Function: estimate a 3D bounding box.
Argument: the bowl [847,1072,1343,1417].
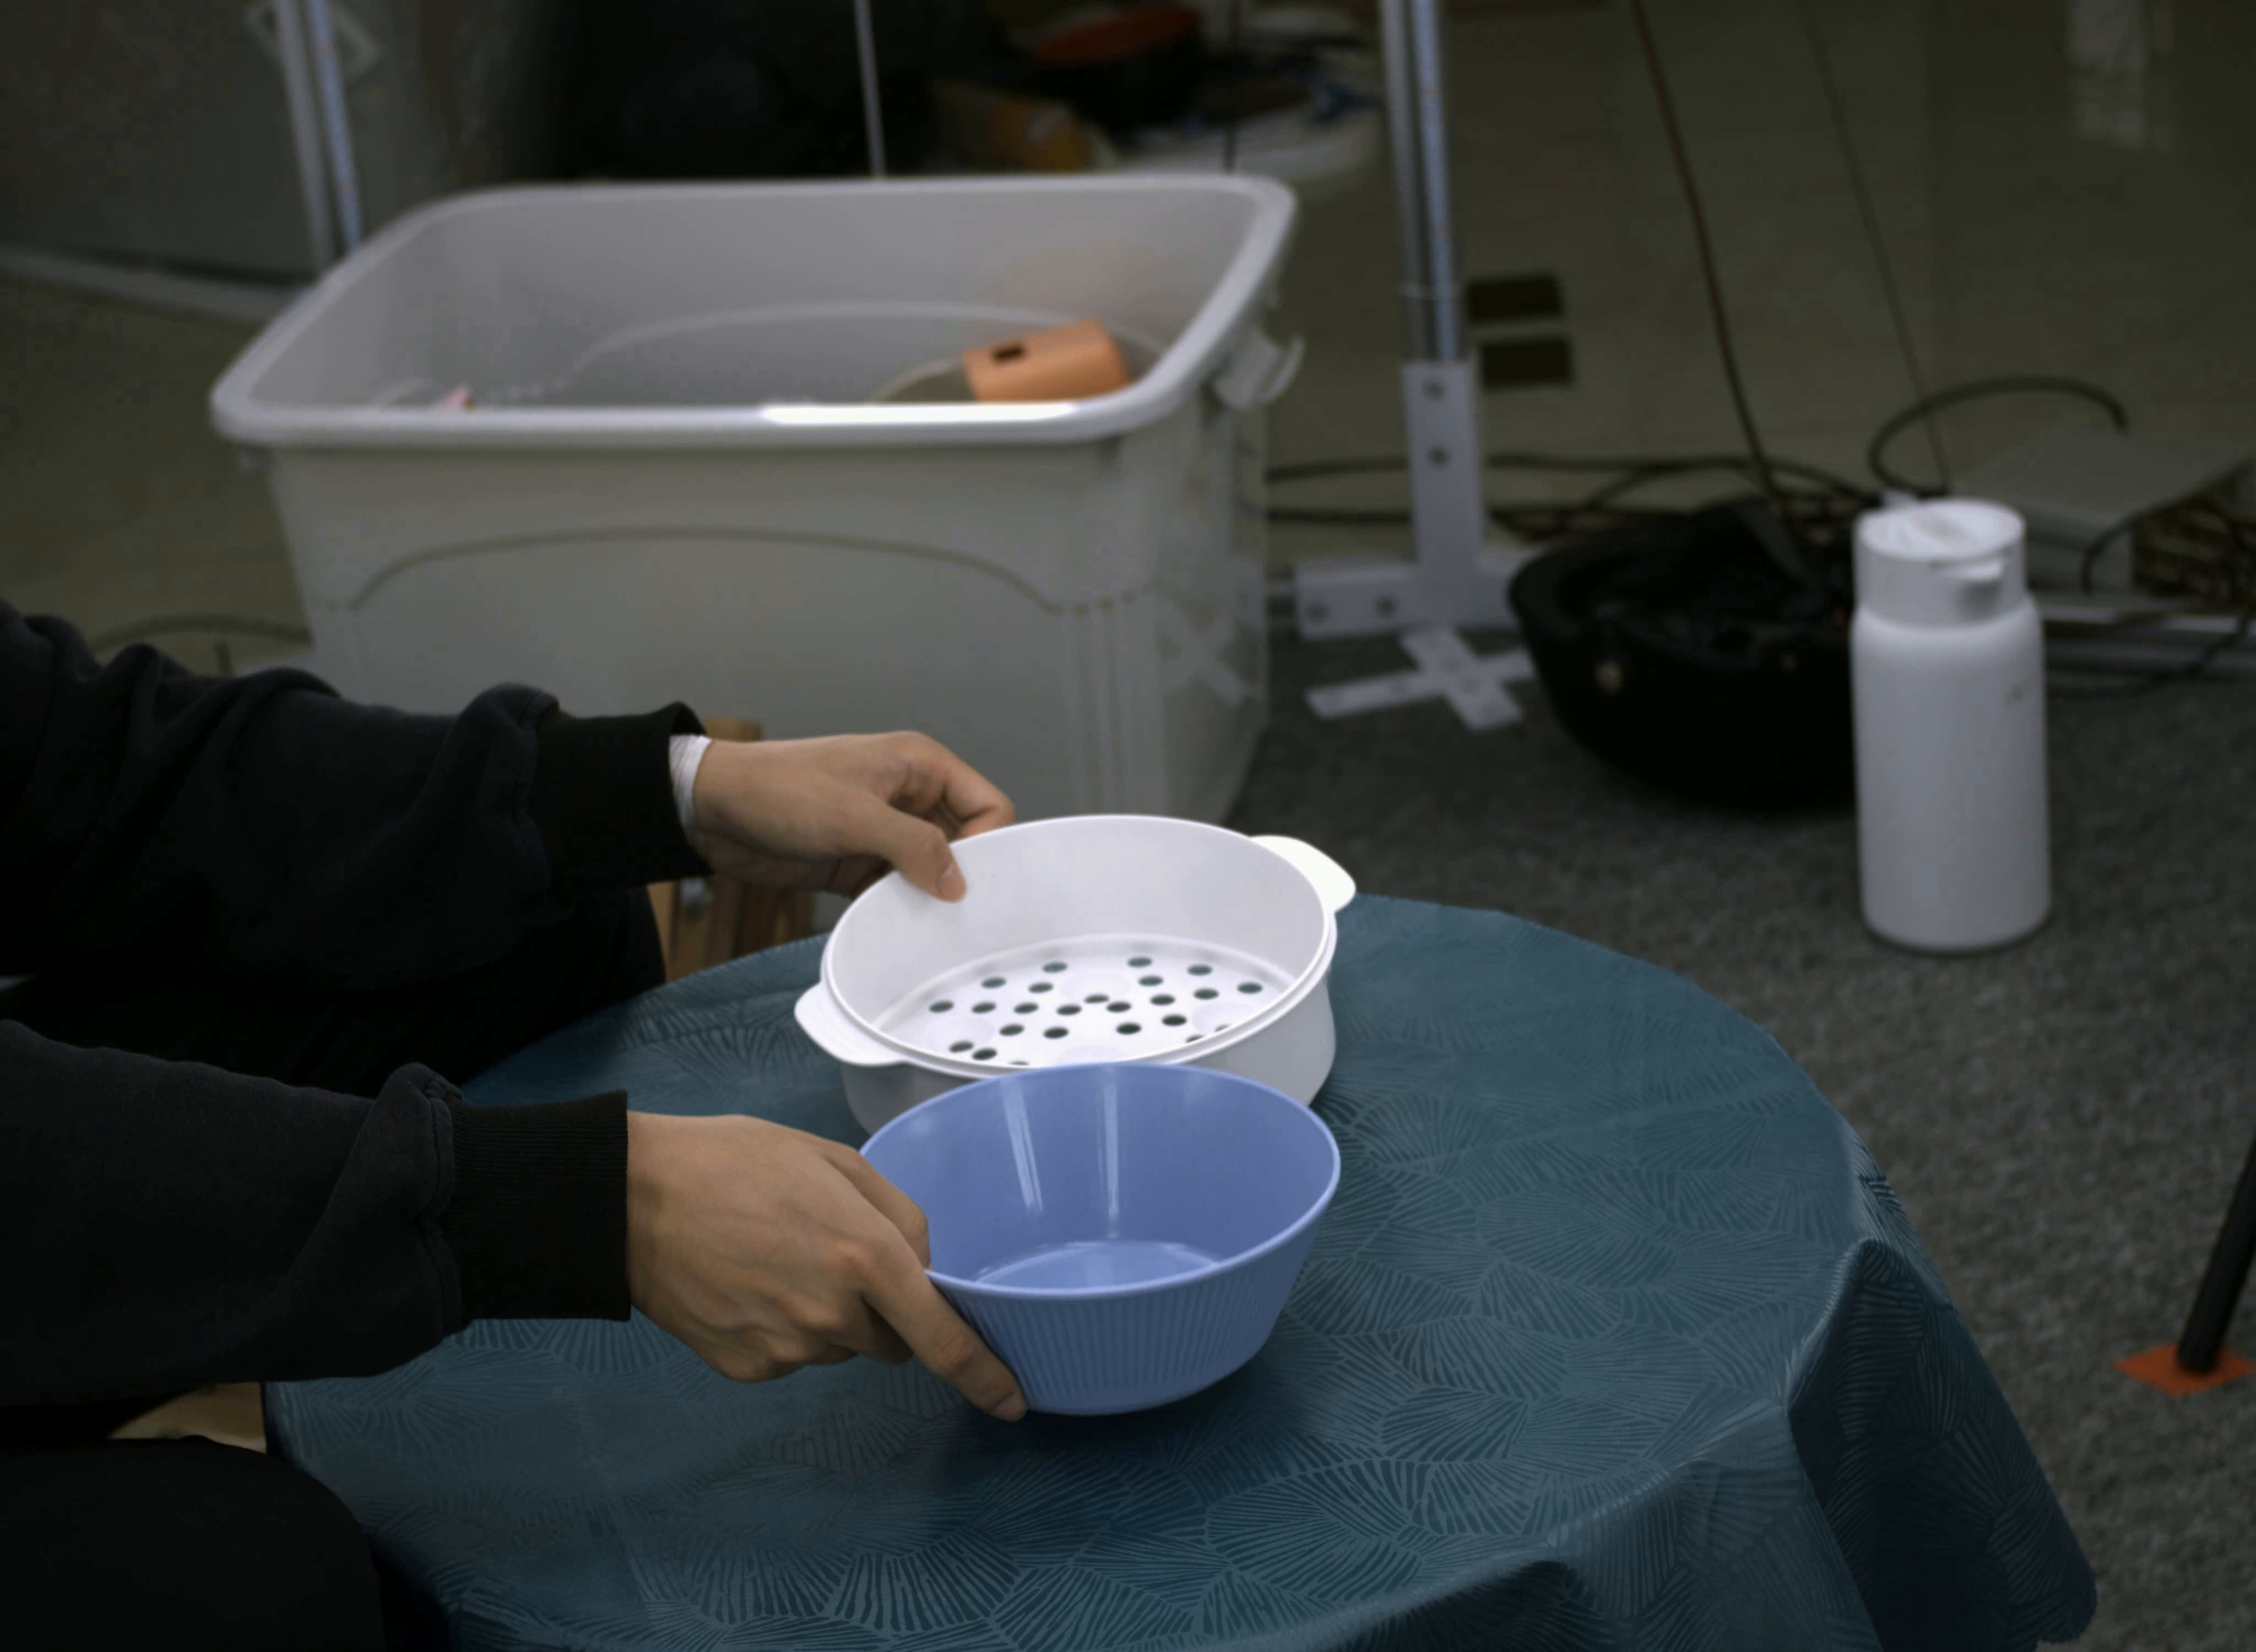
[{"bbox_3d":[-0.010,0.154,2.009,0.176,0.071,0.173,-3,23,2],"label":"bowl"}]

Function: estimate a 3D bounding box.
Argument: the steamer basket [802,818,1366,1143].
[{"bbox_3d":[-0.015,0.071,2.210,0.229,0.070,0.199,-15,31,-24],"label":"steamer basket"}]
